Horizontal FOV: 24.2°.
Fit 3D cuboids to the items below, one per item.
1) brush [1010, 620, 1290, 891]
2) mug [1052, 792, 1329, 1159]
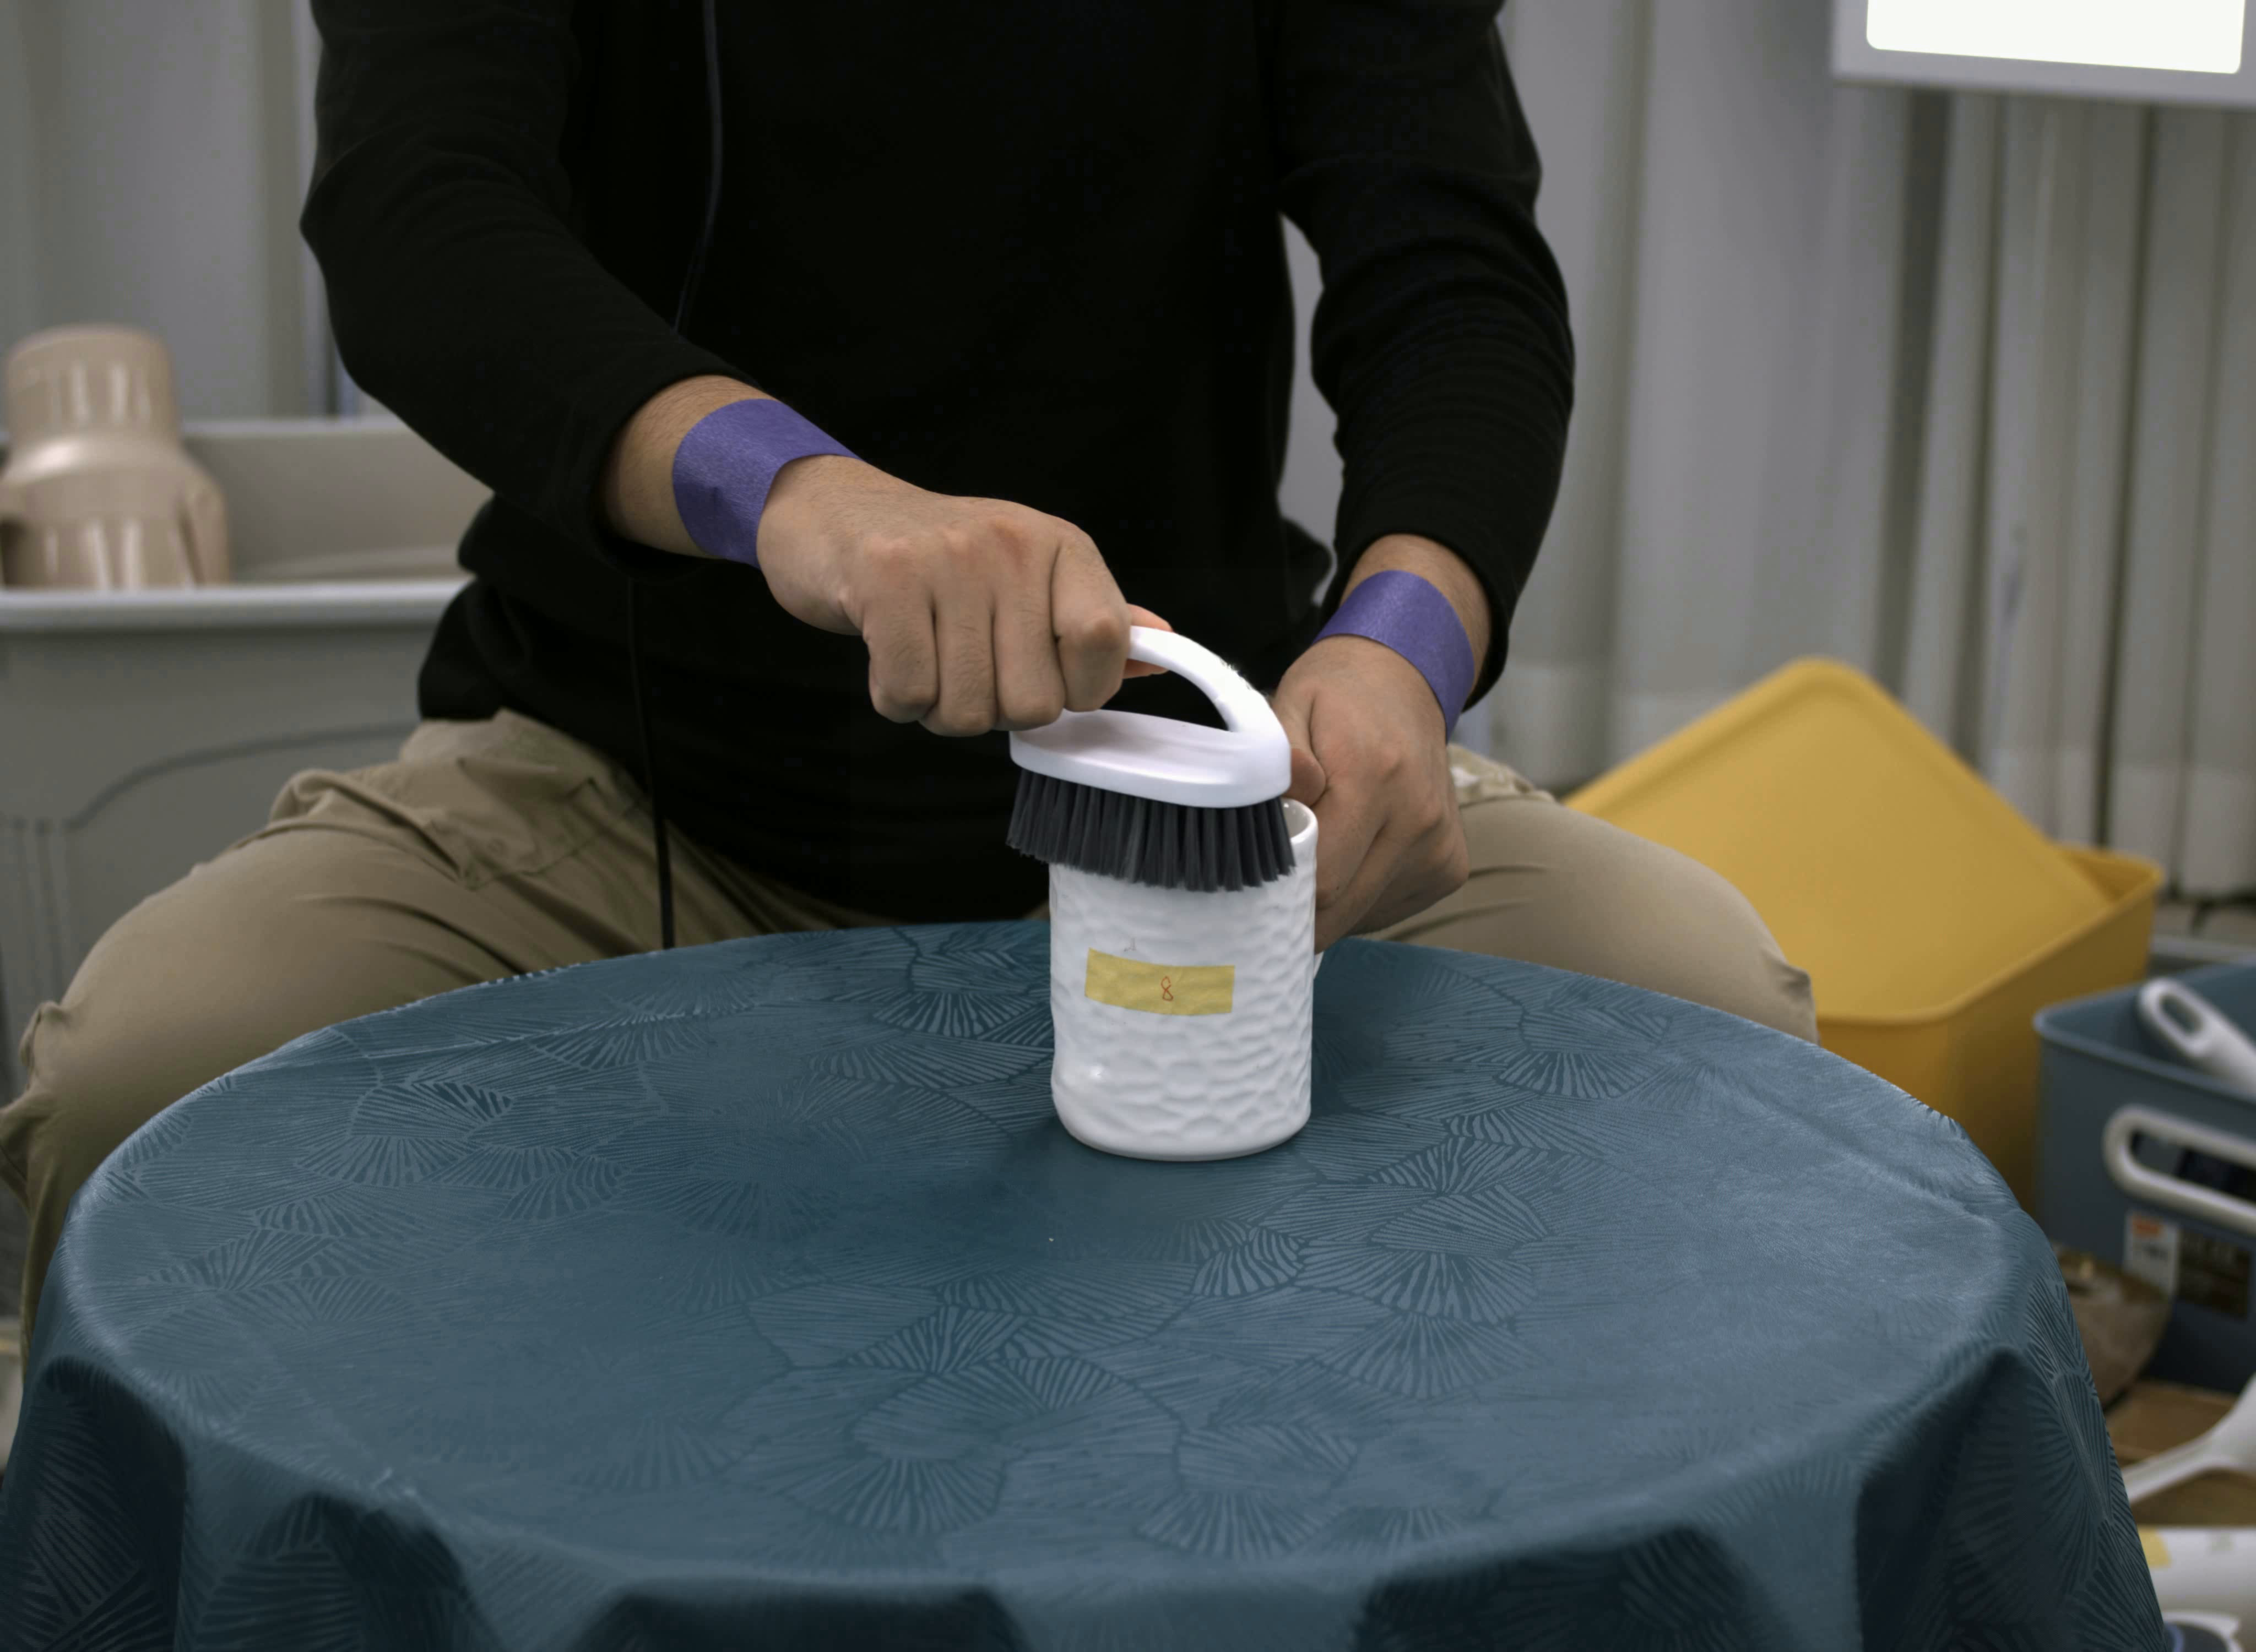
[{"bbox_3d":[0.005,-0.026,1.618,0.098,0.073,0.050,15,25,40],"label":"brush"},{"bbox_3d":[0.027,0.042,1.683,0.084,0.103,0.119,12,18,31],"label":"mug"}]
